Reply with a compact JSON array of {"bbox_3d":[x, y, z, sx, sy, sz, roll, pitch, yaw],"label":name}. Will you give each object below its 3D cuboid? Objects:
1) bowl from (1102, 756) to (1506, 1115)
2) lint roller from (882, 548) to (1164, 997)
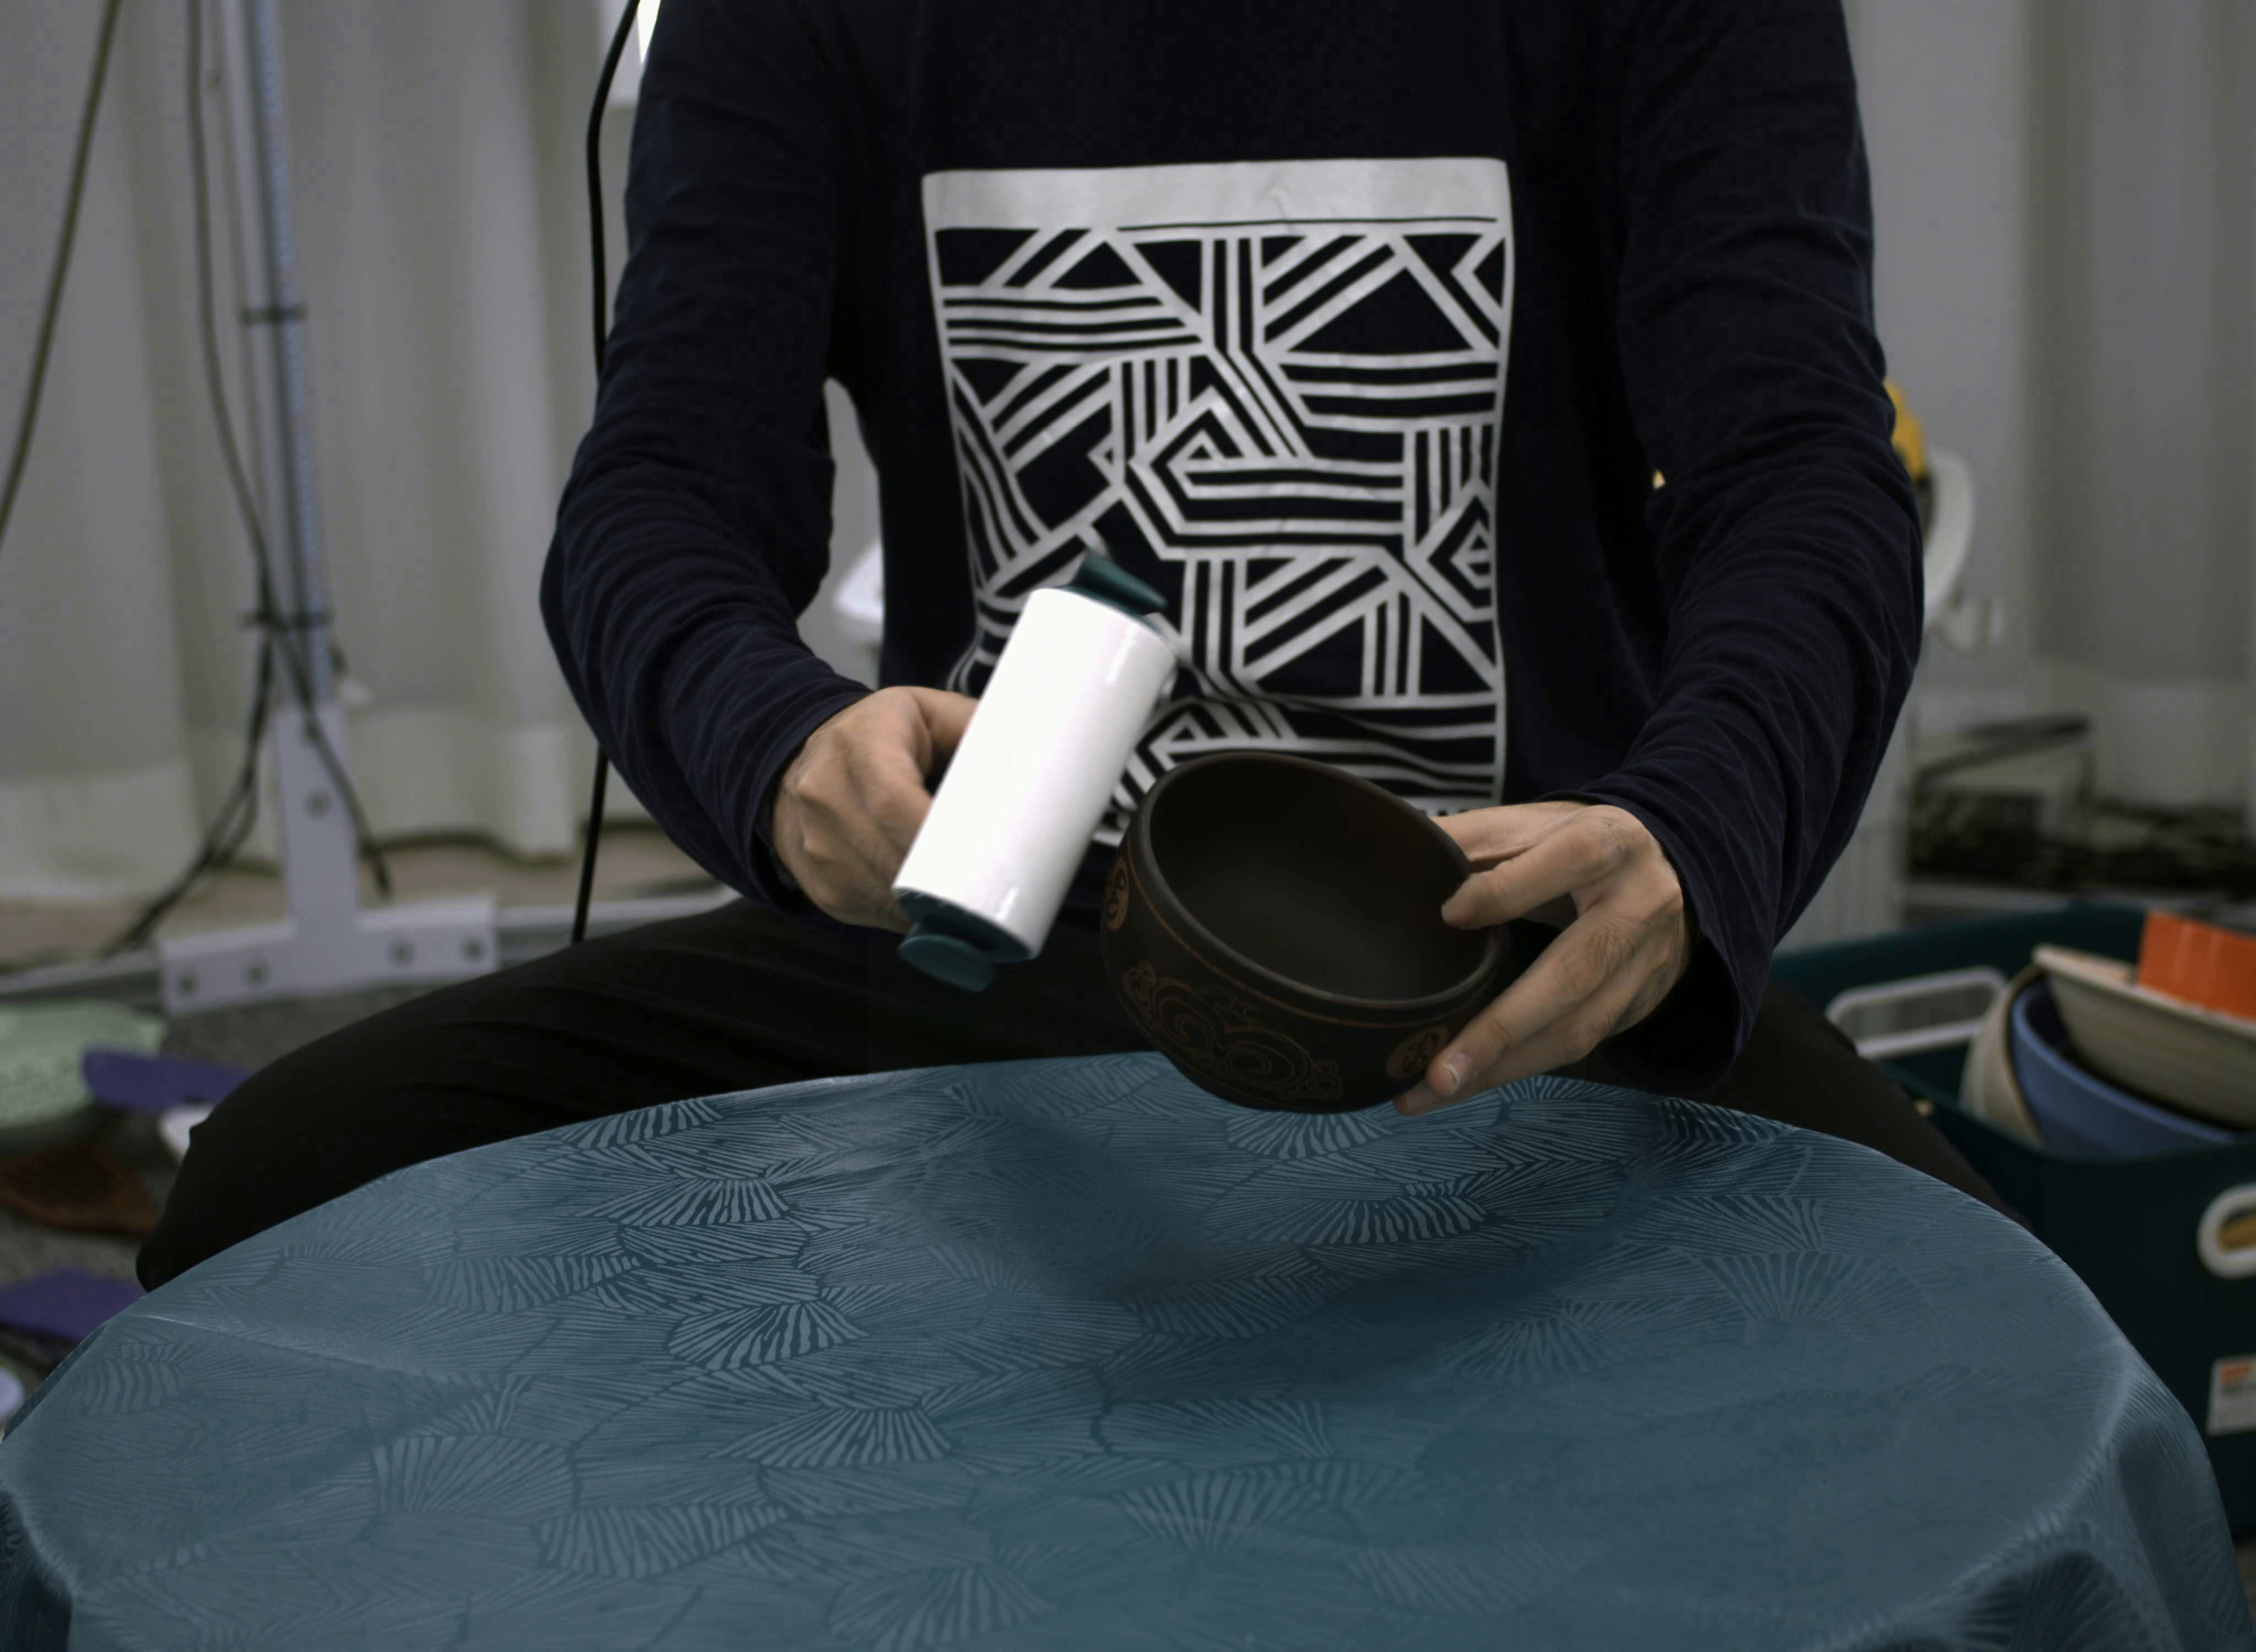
[{"bbox_3d":[0.047,0.041,1.611,0.117,0.069,0.119,14,32,-9],"label":"bowl"},{"bbox_3d":[-0.051,-0.009,1.666,0.048,0.135,0.180,28,-13,-15],"label":"lint roller"}]
